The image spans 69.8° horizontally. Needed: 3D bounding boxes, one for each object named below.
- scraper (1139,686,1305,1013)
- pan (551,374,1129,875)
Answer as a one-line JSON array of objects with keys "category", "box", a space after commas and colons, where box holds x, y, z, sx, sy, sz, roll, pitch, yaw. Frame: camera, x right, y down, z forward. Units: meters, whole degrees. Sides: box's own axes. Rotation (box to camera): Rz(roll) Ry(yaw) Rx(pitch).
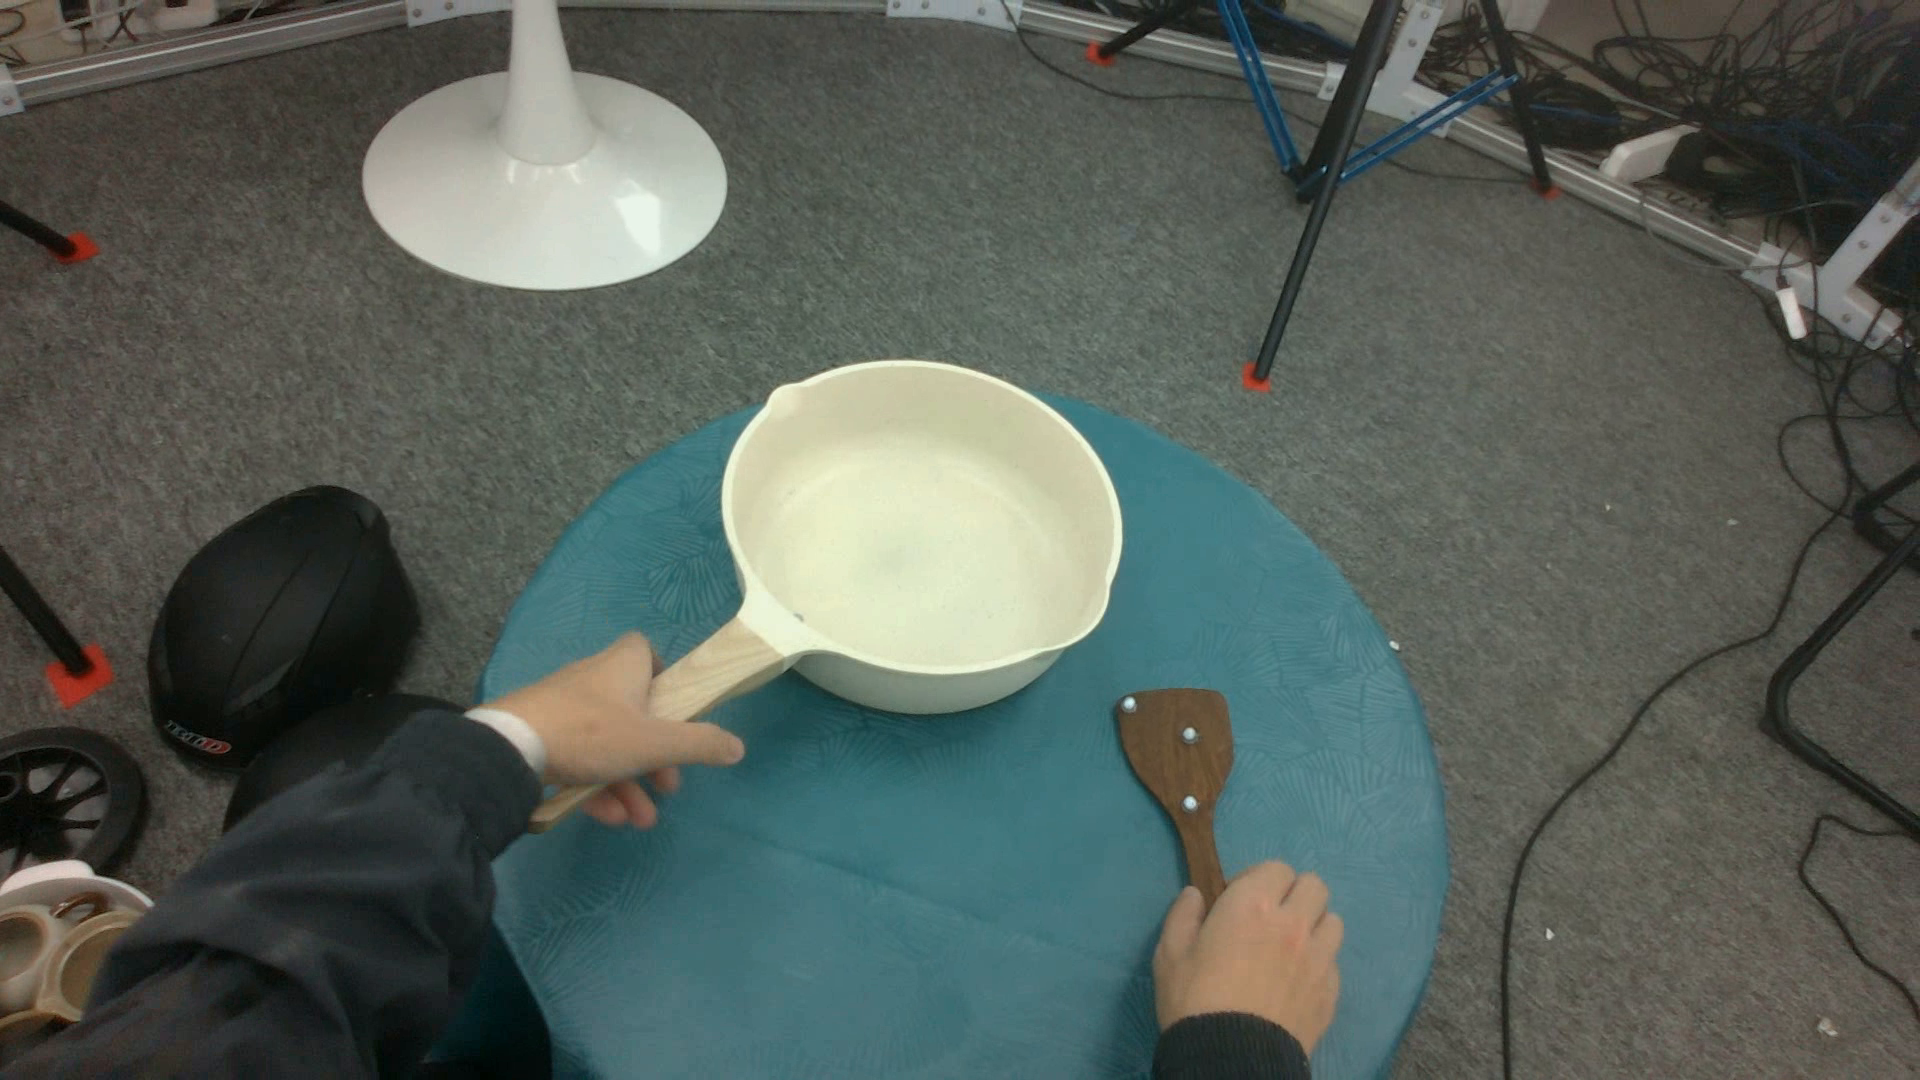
[{"category": "scraper", "box": [0.165, 0.180, 0.828, 0.076, 0.011, 0.212, -8, 50, -2]}, {"category": "pan", "box": [-0.076, 0.059, 0.843, 0.263, 0.101, 0.437, 34, 55, 18]}]
